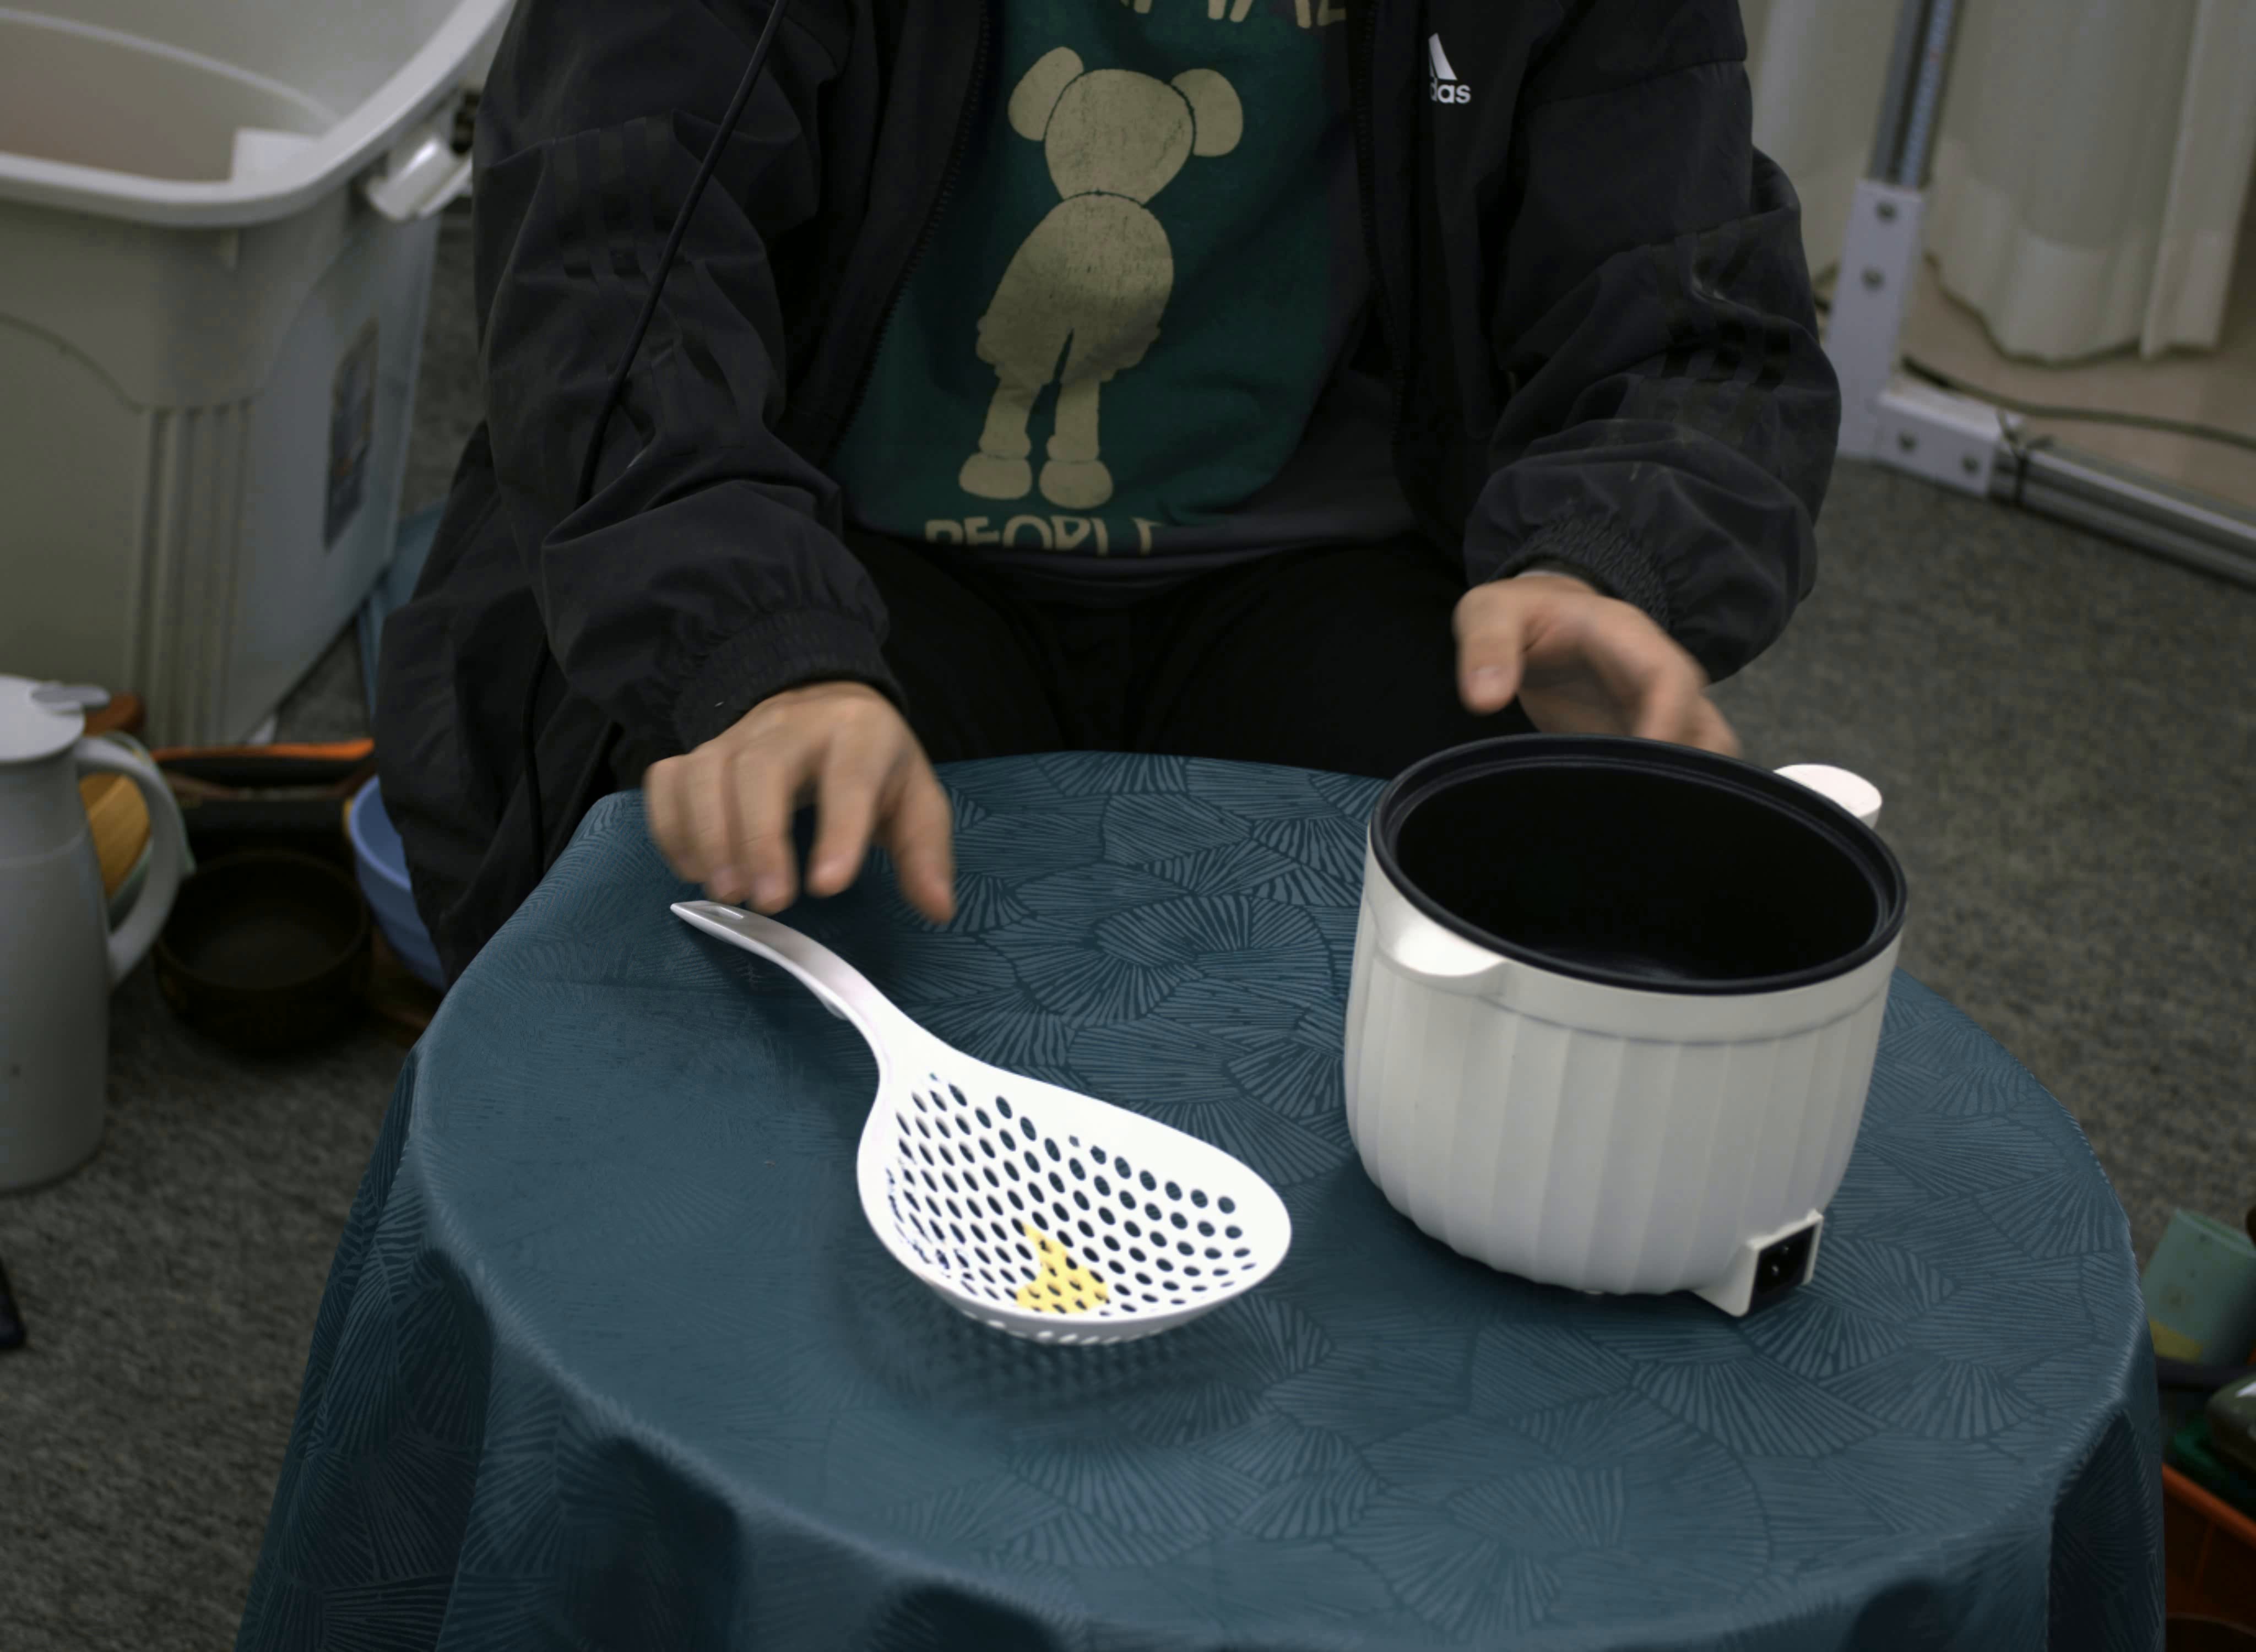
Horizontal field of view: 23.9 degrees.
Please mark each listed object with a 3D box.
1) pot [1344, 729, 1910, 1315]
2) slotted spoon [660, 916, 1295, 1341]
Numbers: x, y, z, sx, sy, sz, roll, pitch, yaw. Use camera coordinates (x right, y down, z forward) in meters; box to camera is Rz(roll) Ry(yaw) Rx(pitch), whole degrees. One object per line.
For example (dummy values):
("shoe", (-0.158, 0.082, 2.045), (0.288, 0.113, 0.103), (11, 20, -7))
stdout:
("pot", (0.158, 0.066, 1.802), (0.239, 0.142, 0.192), (-18, 38, -42))
("slotted spoon", (-0.071, 0.090, 1.809), (0.136, 0.050, 0.351), (-12, 32, -27))
